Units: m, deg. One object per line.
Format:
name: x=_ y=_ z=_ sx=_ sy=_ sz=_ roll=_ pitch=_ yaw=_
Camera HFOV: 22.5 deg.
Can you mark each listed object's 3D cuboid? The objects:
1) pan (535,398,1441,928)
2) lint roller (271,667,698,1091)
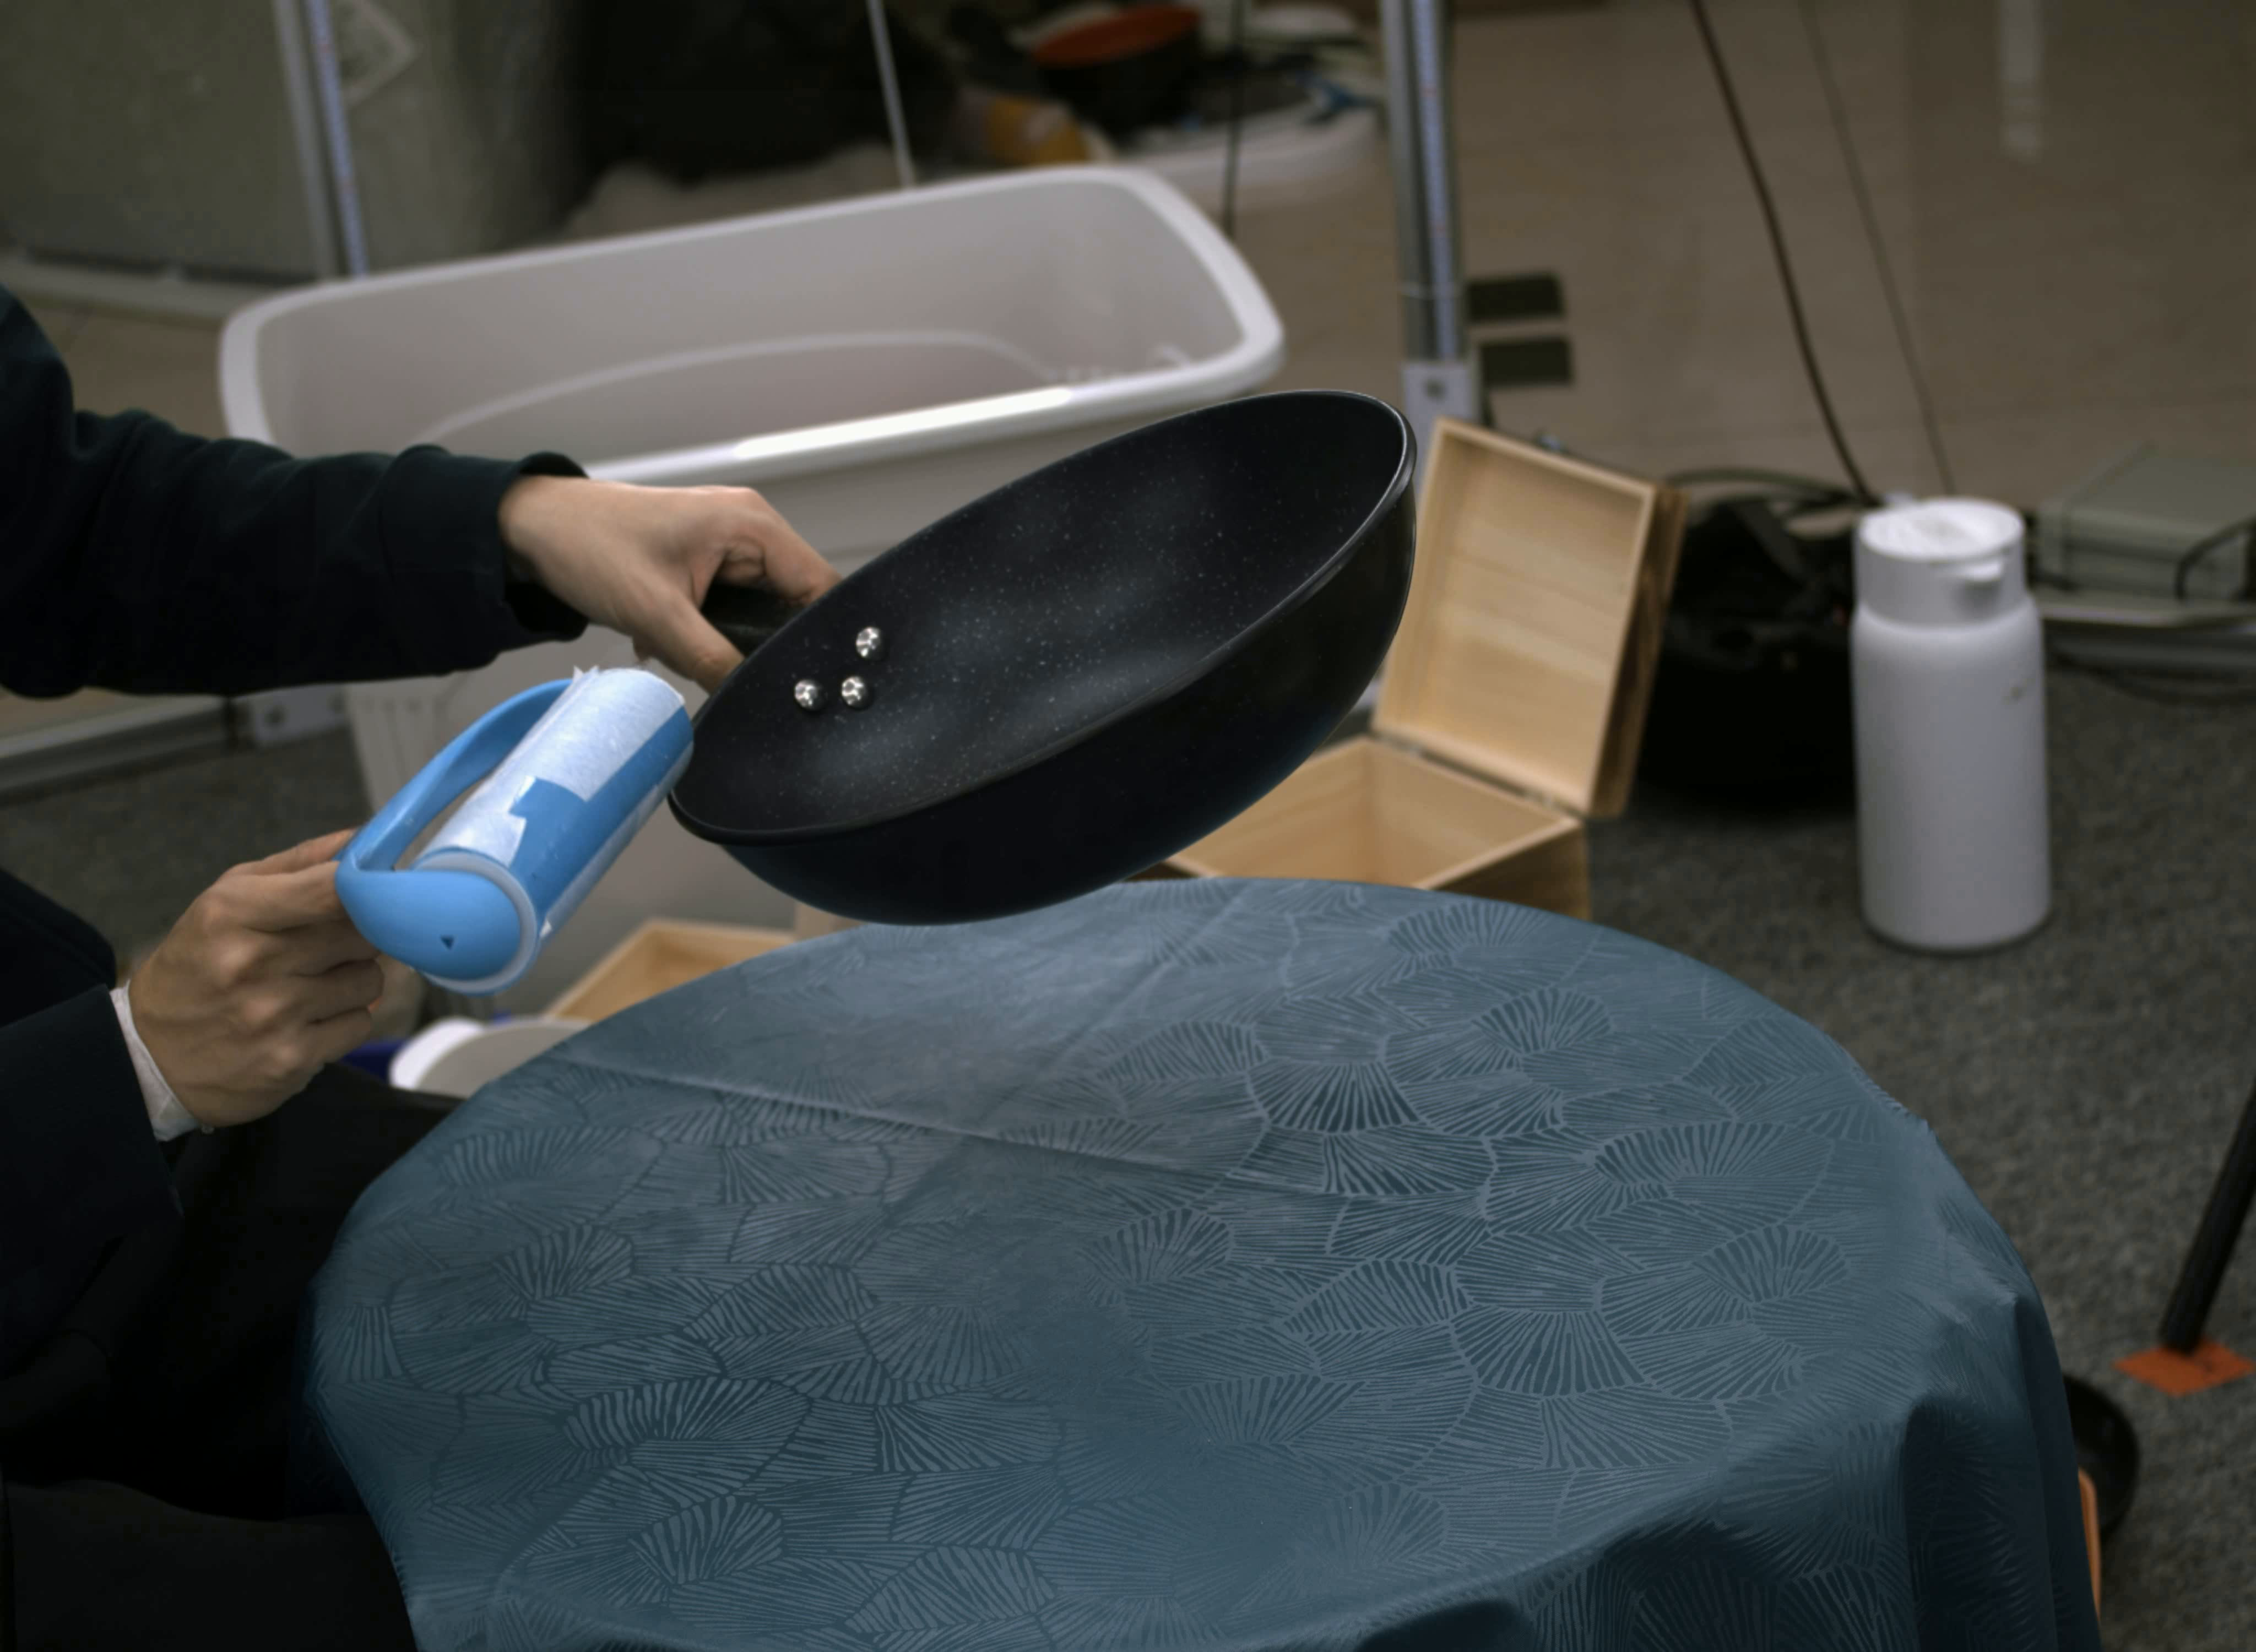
pan: x=-0.068 y=-0.056 z=2.161 sx=0.307 sy=0.113 sz=0.476 roll=-40 pitch=24 yaw=-32
lint roller: x=-0.250 y=0.027 z=2.016 sx=0.181 sy=0.068 sz=0.226 roll=-31 pitch=14 yaw=18
